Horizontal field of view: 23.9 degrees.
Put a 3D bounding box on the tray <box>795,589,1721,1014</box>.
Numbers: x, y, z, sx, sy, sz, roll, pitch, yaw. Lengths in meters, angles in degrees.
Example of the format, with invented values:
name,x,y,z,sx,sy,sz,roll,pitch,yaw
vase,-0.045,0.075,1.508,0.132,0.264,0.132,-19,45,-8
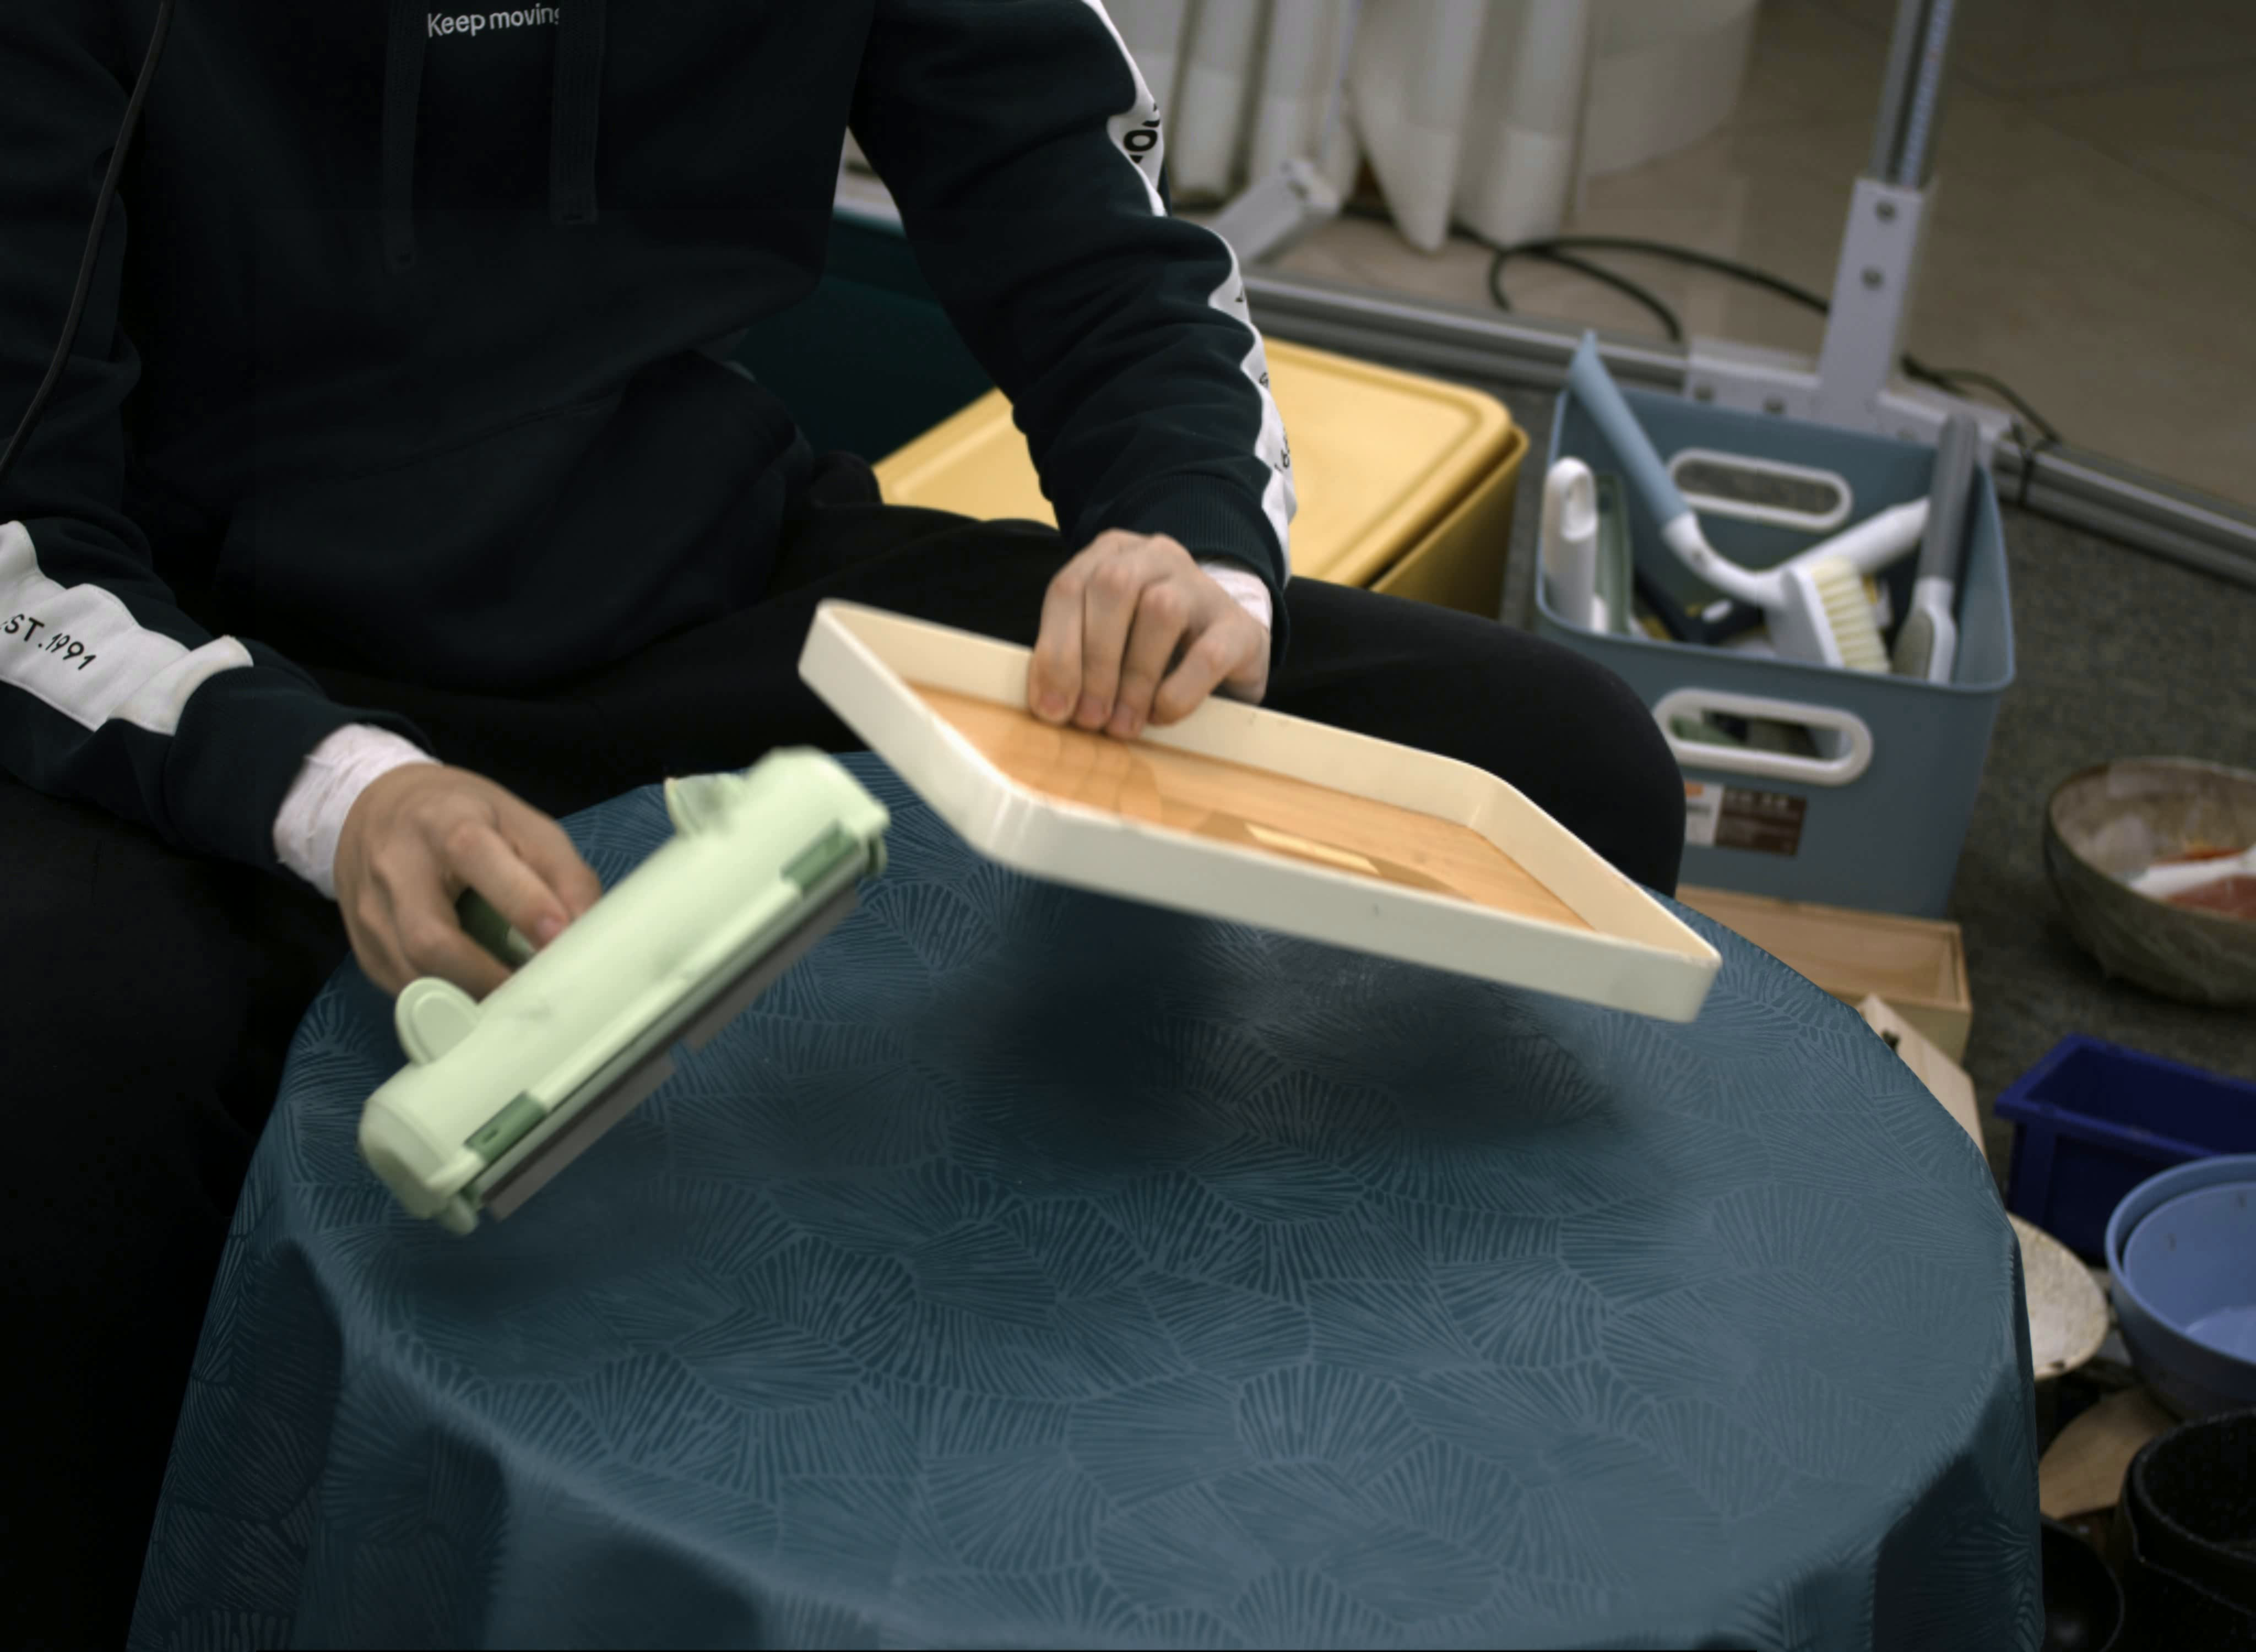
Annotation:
name,x,y,z,sx,sy,sz,roll,pitch,yaw
tray,0.045,-0.008,1.851,0.297,0.027,0.193,15,14,-29

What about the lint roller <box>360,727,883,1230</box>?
name,x,y,z,sx,sy,sz,roll,pitch,yaw
lint roller,-0.197,0.028,1.745,0.198,0.081,0.185,-43,37,-19
